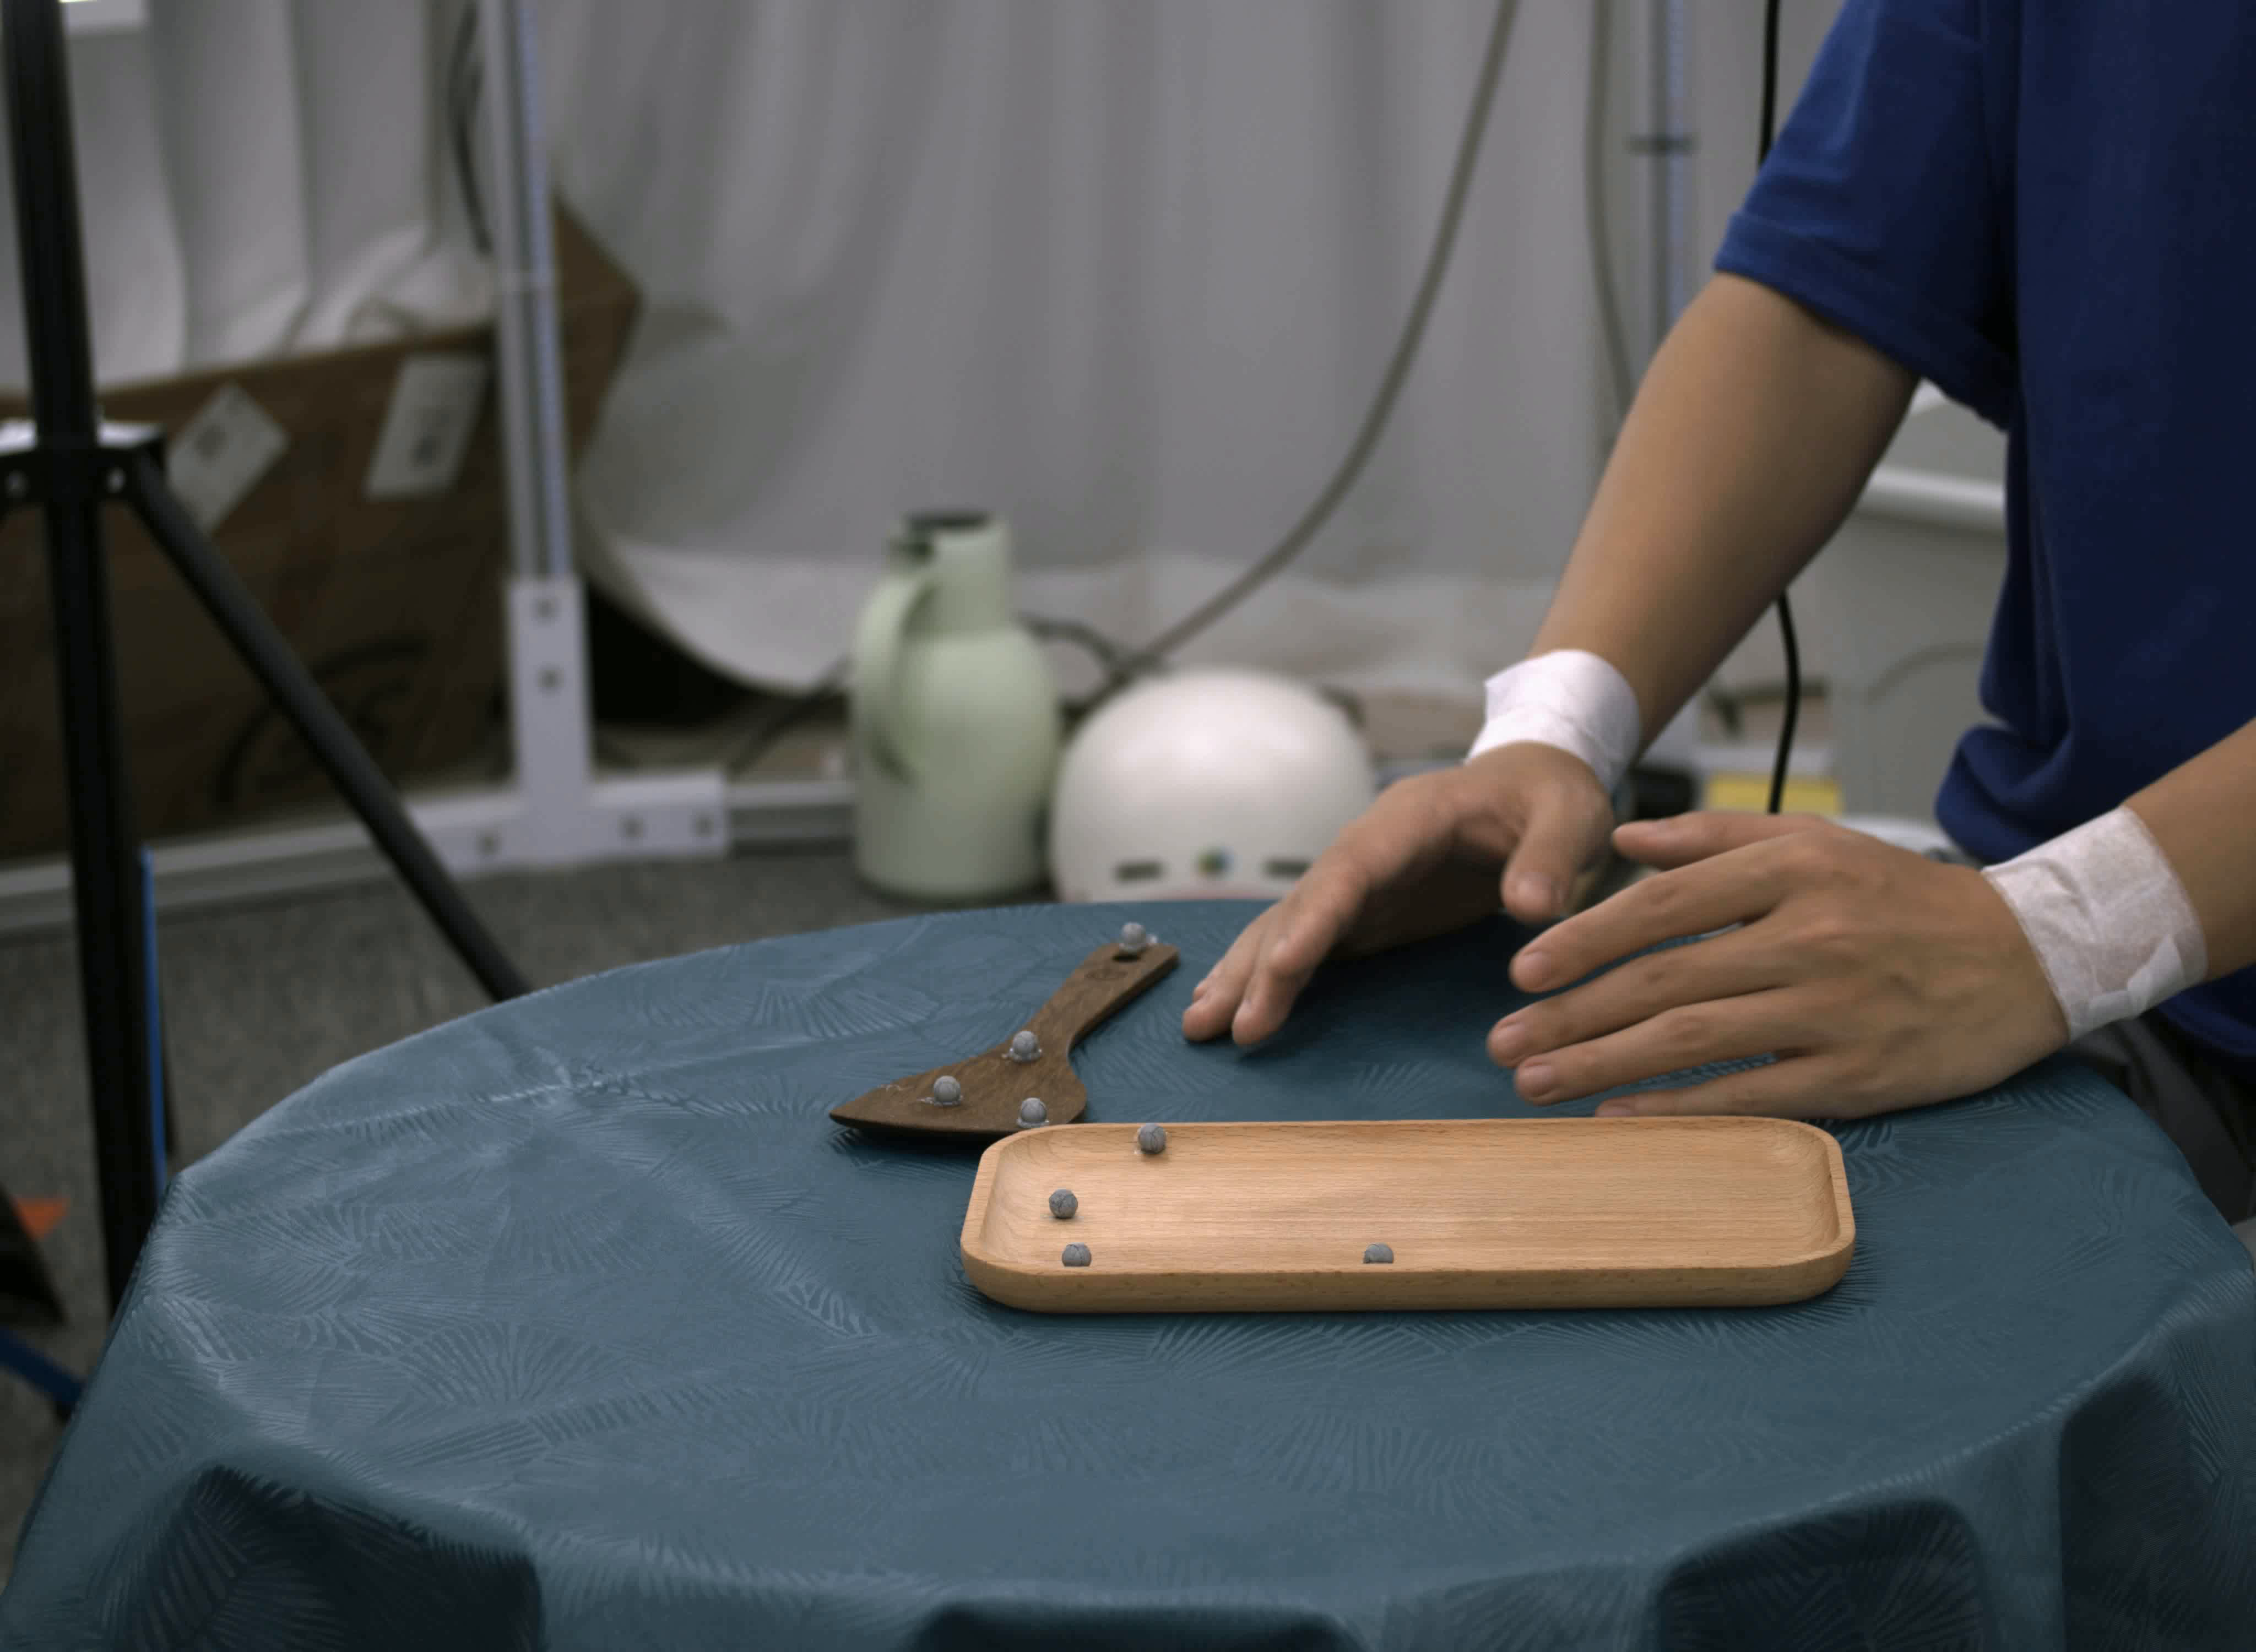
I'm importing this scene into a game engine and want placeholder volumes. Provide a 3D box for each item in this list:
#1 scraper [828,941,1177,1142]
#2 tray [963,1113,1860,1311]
[{"bbox_3d":[-0.027,0.068,1.689,0.076,0.011,0.209,4,16,18],"label":"scraper"},{"bbox_3d":[0.081,0.110,1.507,0.251,0.023,0.130,0,18,7],"label":"tray"}]
